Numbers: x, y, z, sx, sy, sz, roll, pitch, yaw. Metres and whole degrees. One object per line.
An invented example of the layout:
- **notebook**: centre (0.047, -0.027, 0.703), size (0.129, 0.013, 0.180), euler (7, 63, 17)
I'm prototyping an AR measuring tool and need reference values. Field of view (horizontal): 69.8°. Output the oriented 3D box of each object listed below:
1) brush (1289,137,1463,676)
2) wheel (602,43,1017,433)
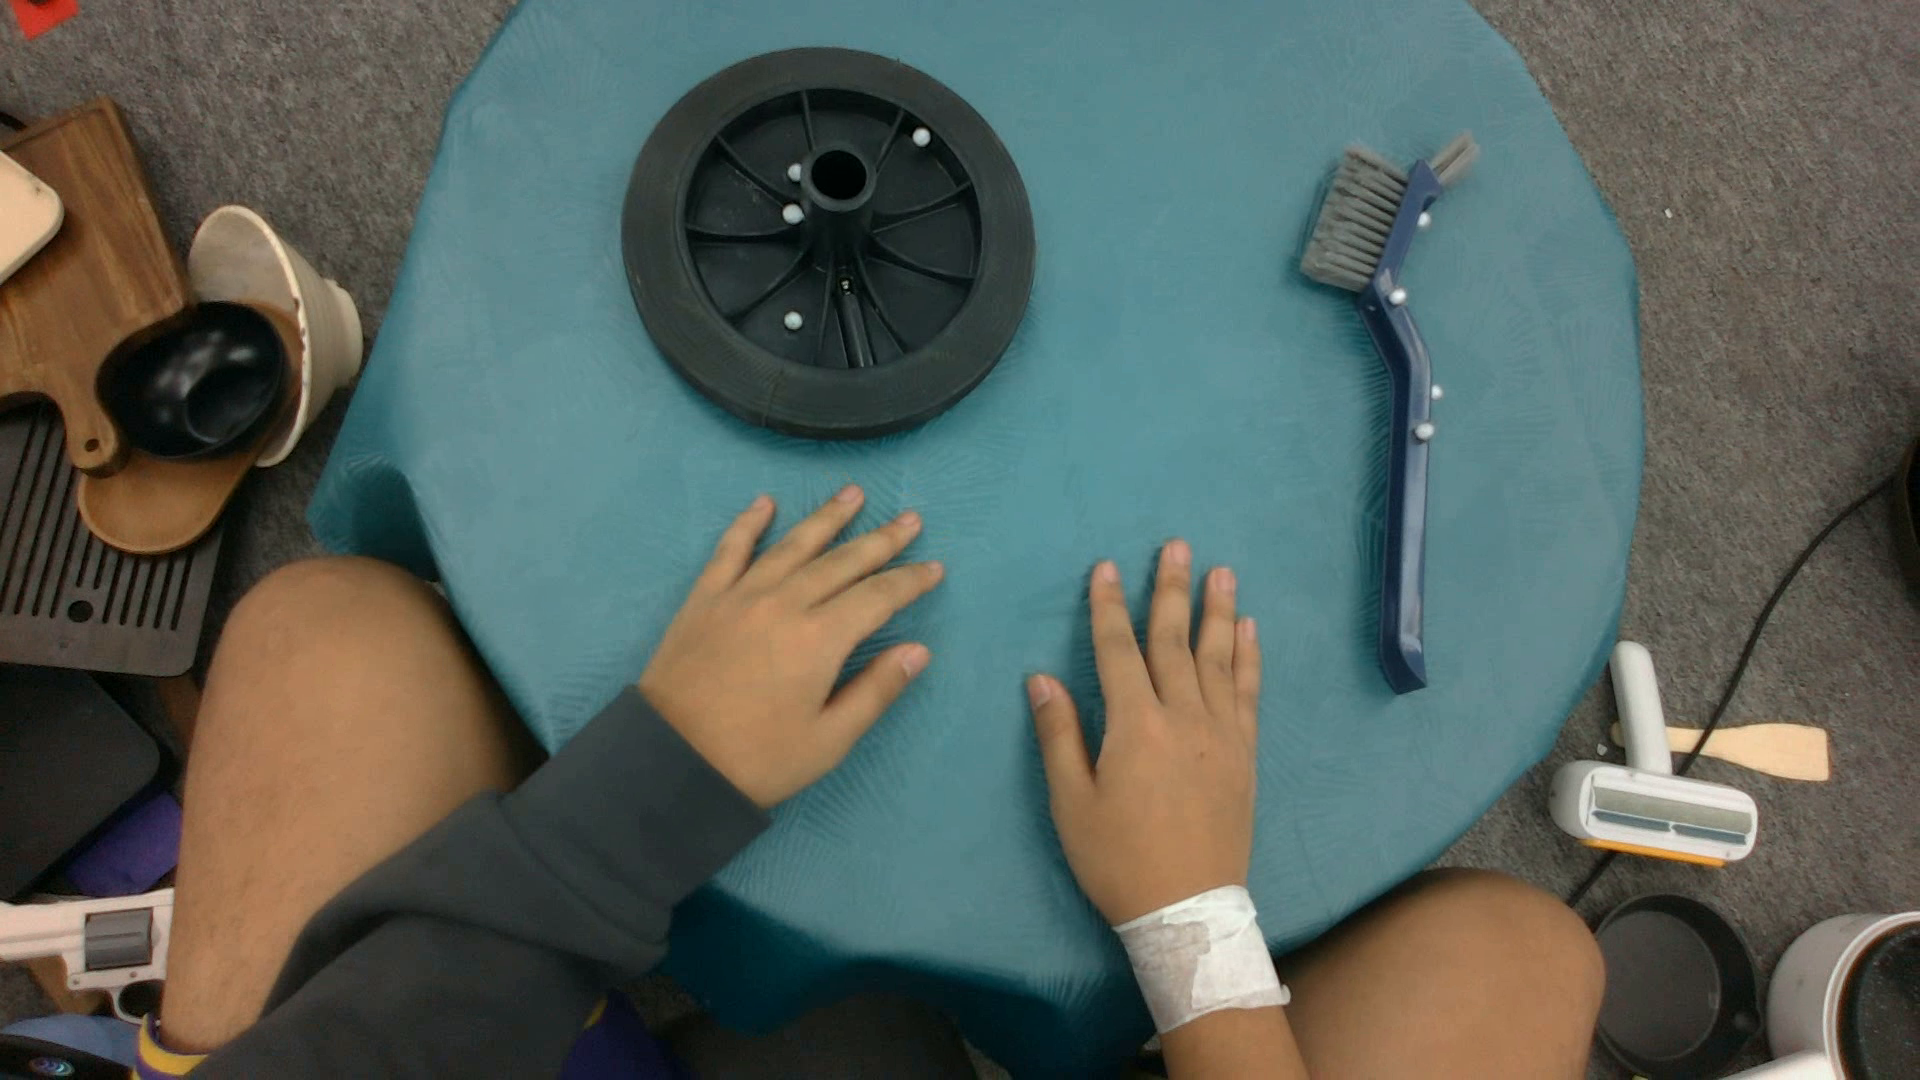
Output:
- **brush**: centre (0.212, -0.072, 0.661), size (0.096, 0.033, 0.274), euler (0, 75, -9)
- **wheel**: centre (-0.064, -0.146, 0.614), size (0.188, 0.079, 0.190), euler (-36, 85, -15)
